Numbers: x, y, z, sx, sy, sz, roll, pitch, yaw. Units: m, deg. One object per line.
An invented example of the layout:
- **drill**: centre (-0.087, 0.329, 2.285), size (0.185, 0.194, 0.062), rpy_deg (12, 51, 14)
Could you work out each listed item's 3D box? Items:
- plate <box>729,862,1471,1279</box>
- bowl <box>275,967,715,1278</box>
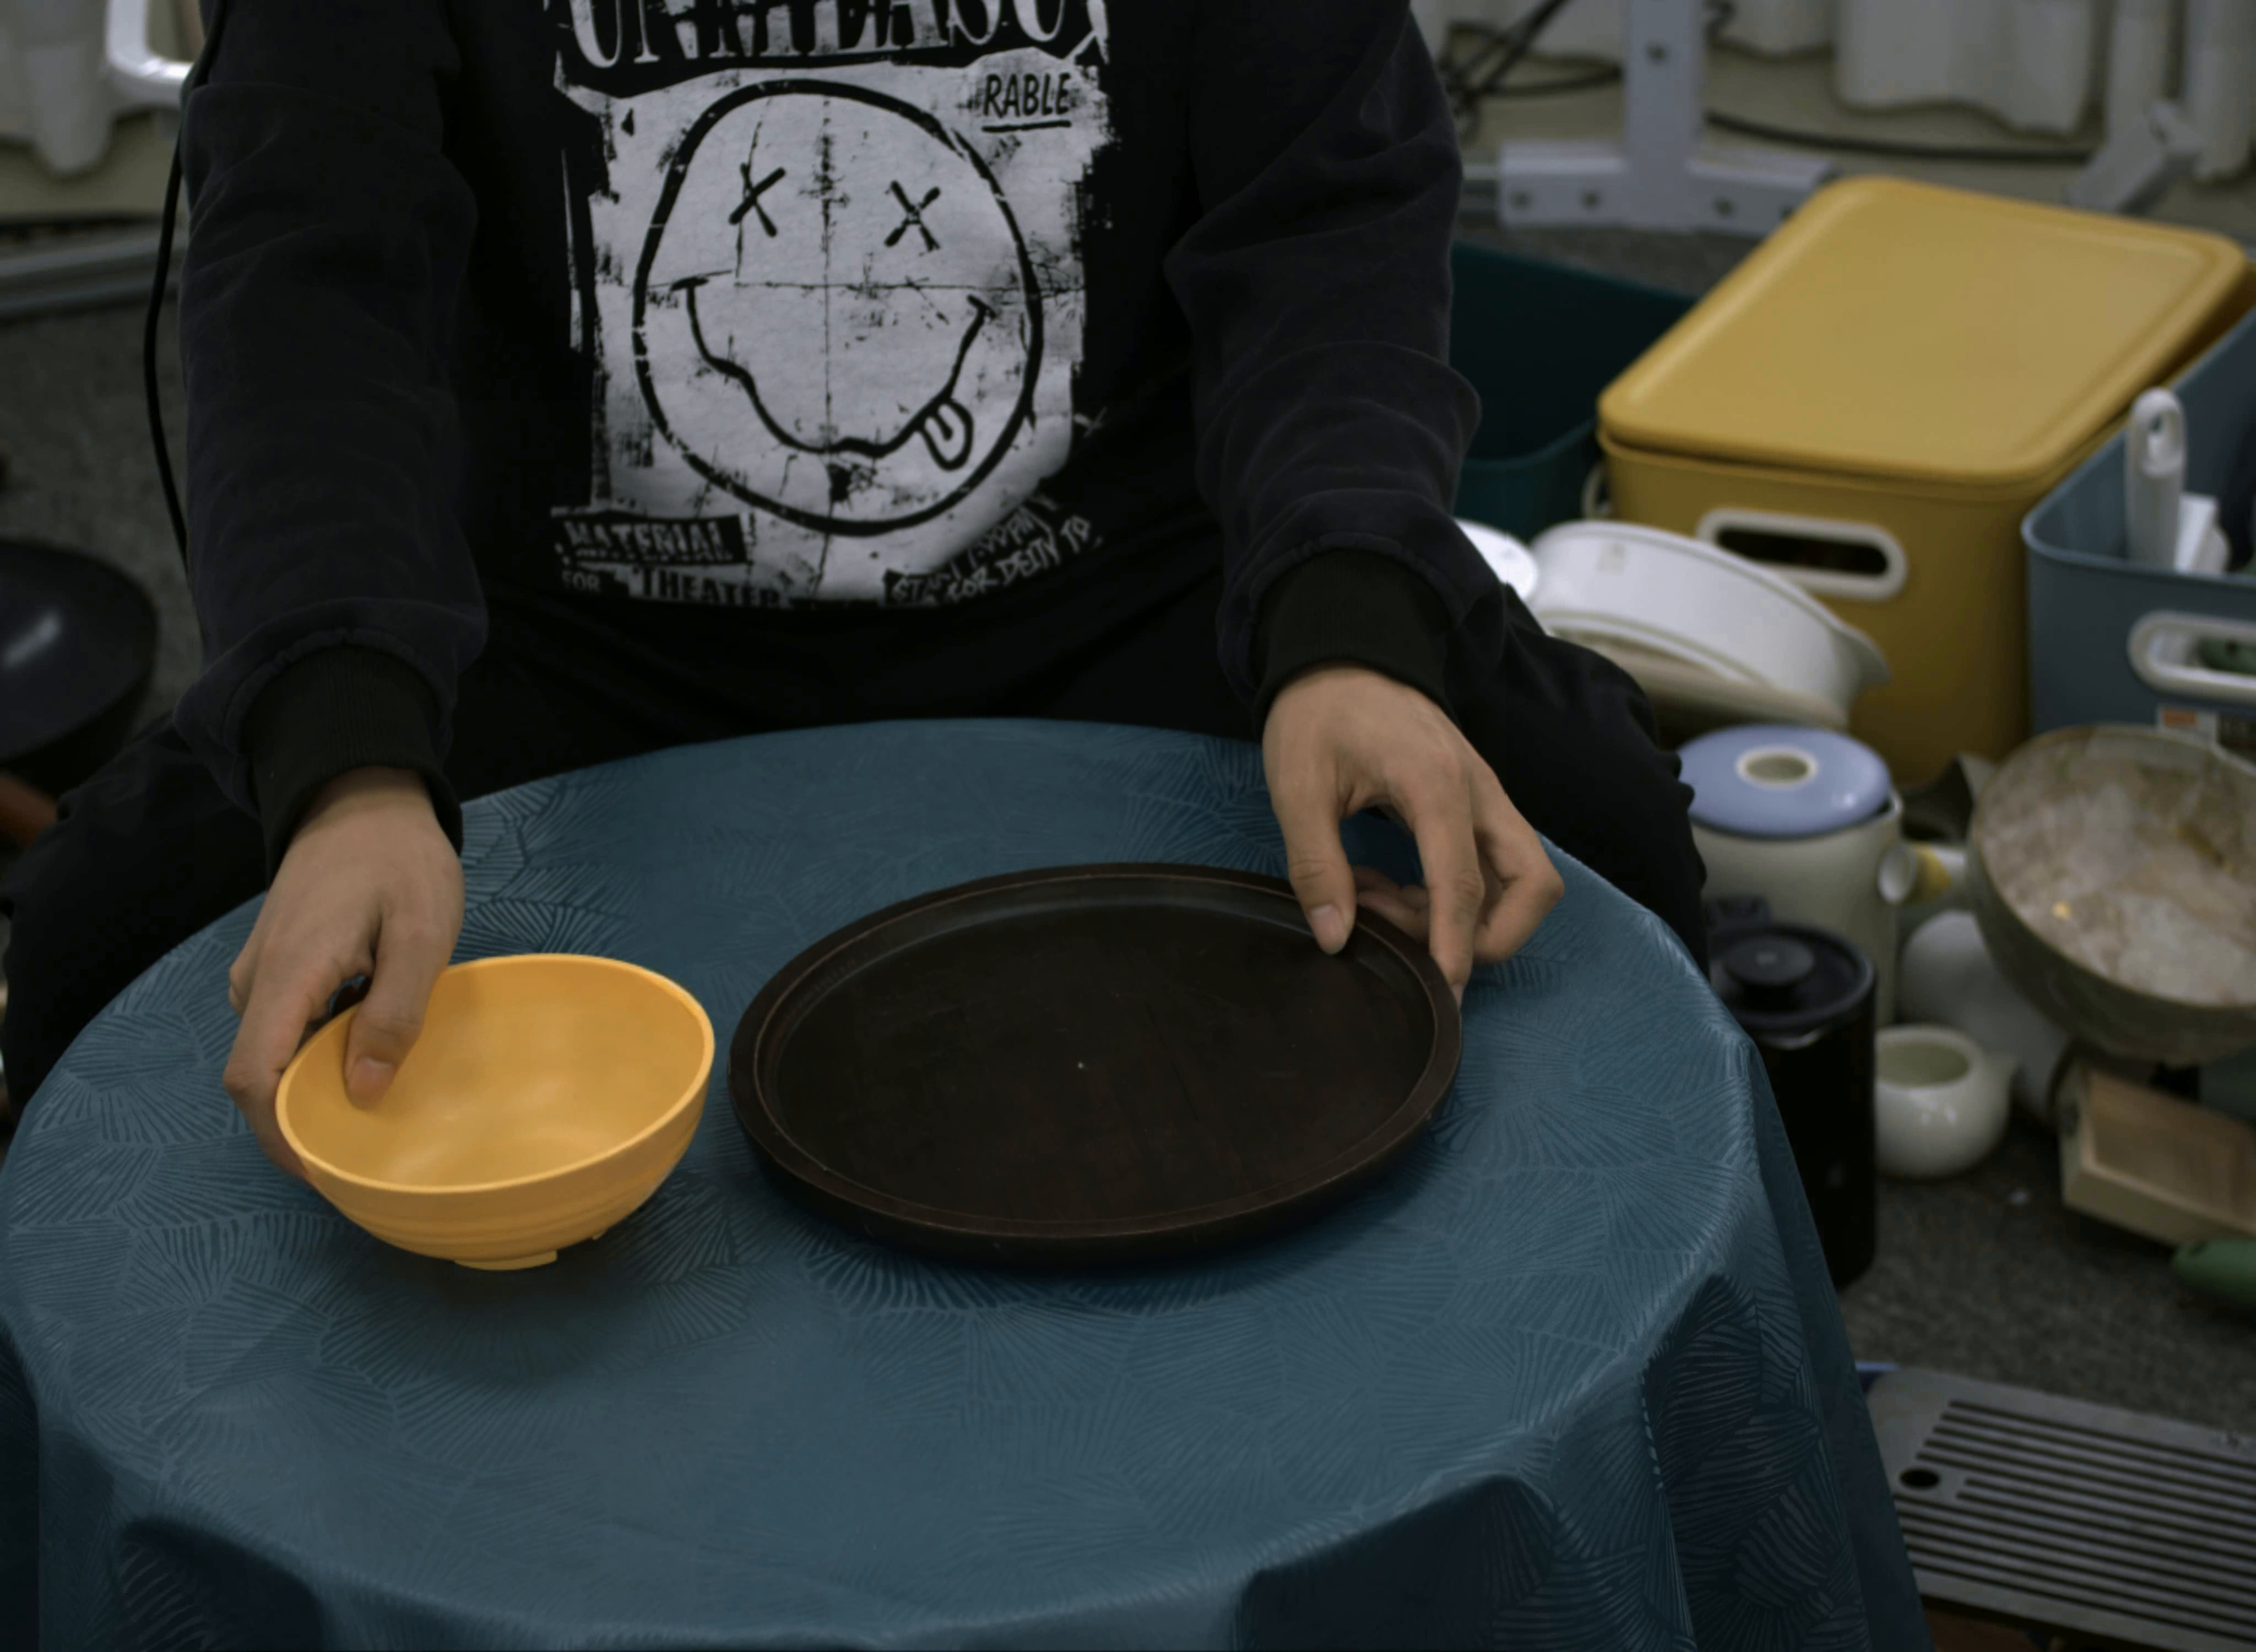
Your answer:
- **plate**: centre (-0.010, 0.082, 1.914), size (0.253, 0.029, 0.258), rpy_deg (-4, 27, 2)
- **bowl**: centre (-0.205, 0.107, 1.847), size (0.144, 0.059, 0.147), rpy_deg (-3, 27, 2)
